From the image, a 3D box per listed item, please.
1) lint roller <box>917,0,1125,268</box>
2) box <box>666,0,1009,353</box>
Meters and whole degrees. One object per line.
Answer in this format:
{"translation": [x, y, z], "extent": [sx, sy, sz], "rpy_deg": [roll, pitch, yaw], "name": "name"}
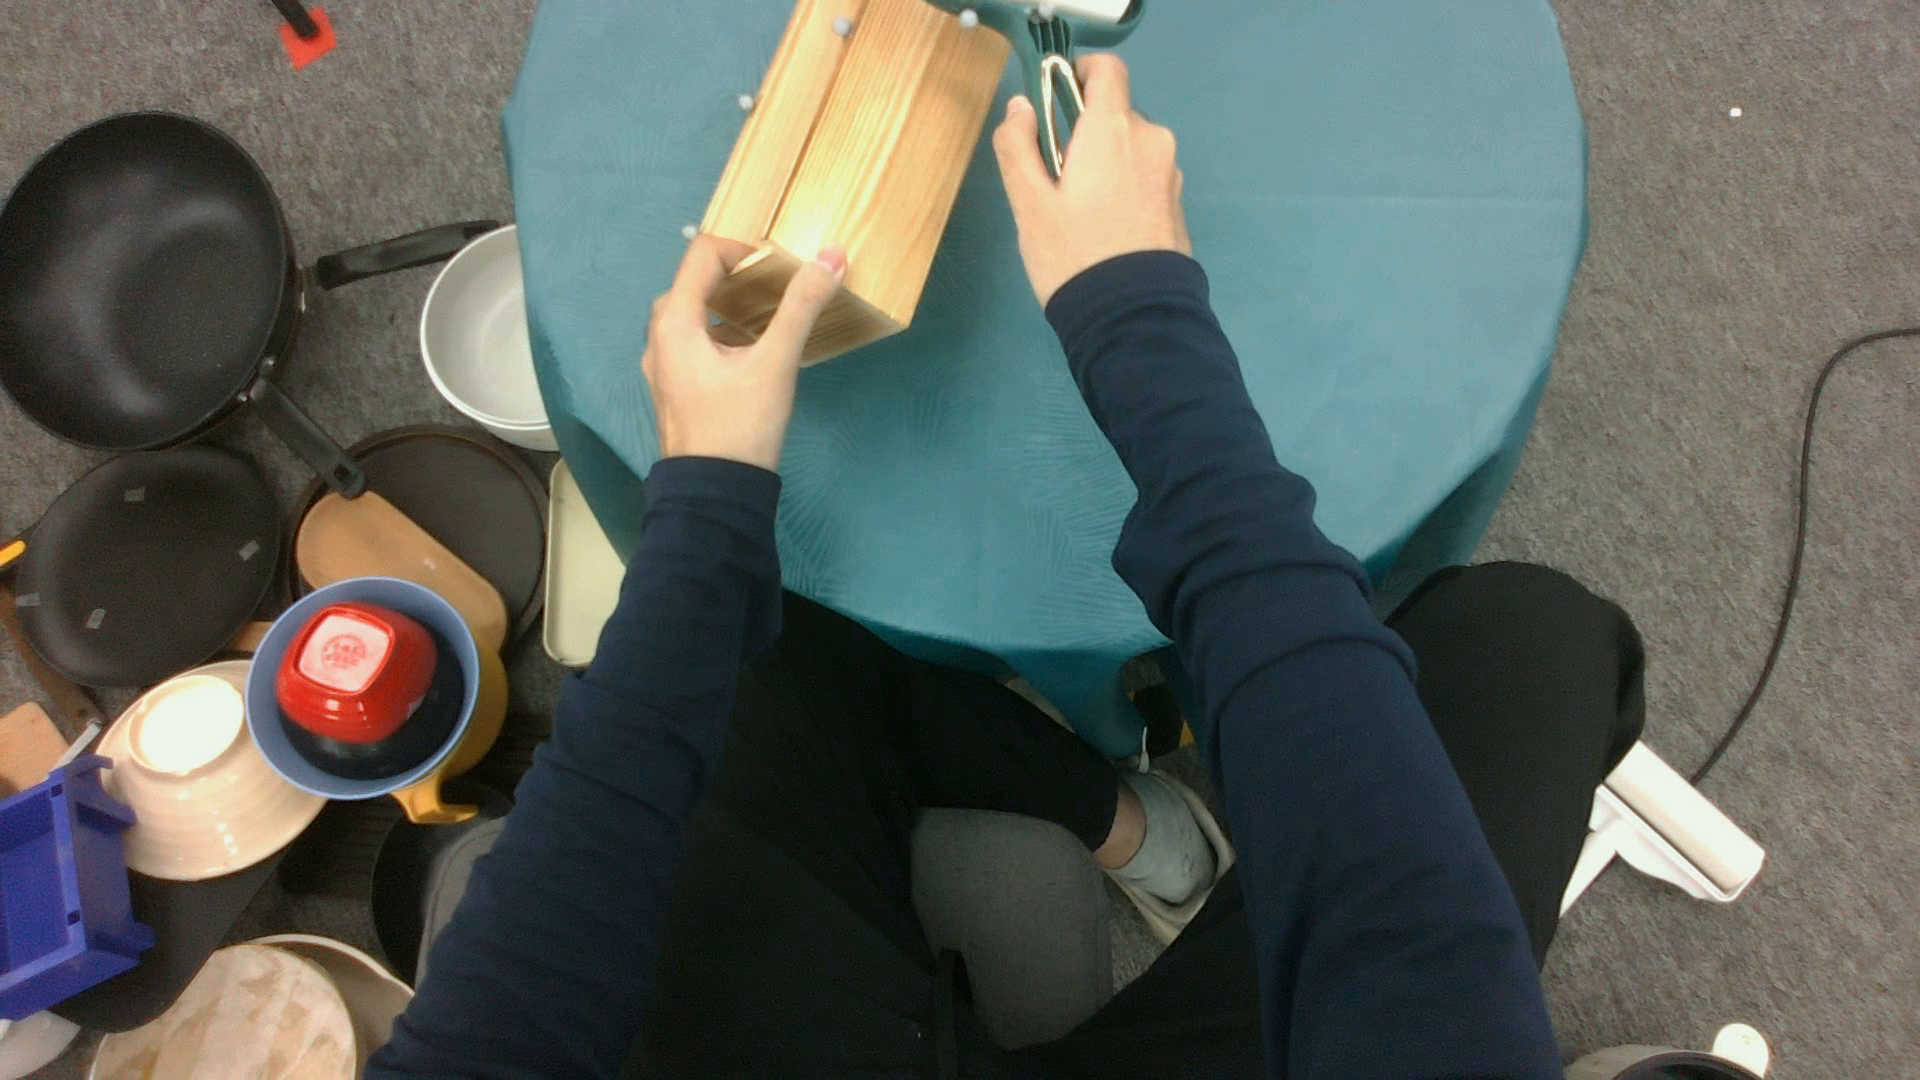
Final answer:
{"translation": [0.037, -0.212, 0.623], "extent": [0.135, 0.048, 0.180], "rpy_deg": [-4, 70, -35], "name": "lint roller"}
{"translation": [-0.056, -0.213, 0.693], "extent": [0.080, 0.107, 0.212], "rpy_deg": [28, 70, -30], "name": "box"}
